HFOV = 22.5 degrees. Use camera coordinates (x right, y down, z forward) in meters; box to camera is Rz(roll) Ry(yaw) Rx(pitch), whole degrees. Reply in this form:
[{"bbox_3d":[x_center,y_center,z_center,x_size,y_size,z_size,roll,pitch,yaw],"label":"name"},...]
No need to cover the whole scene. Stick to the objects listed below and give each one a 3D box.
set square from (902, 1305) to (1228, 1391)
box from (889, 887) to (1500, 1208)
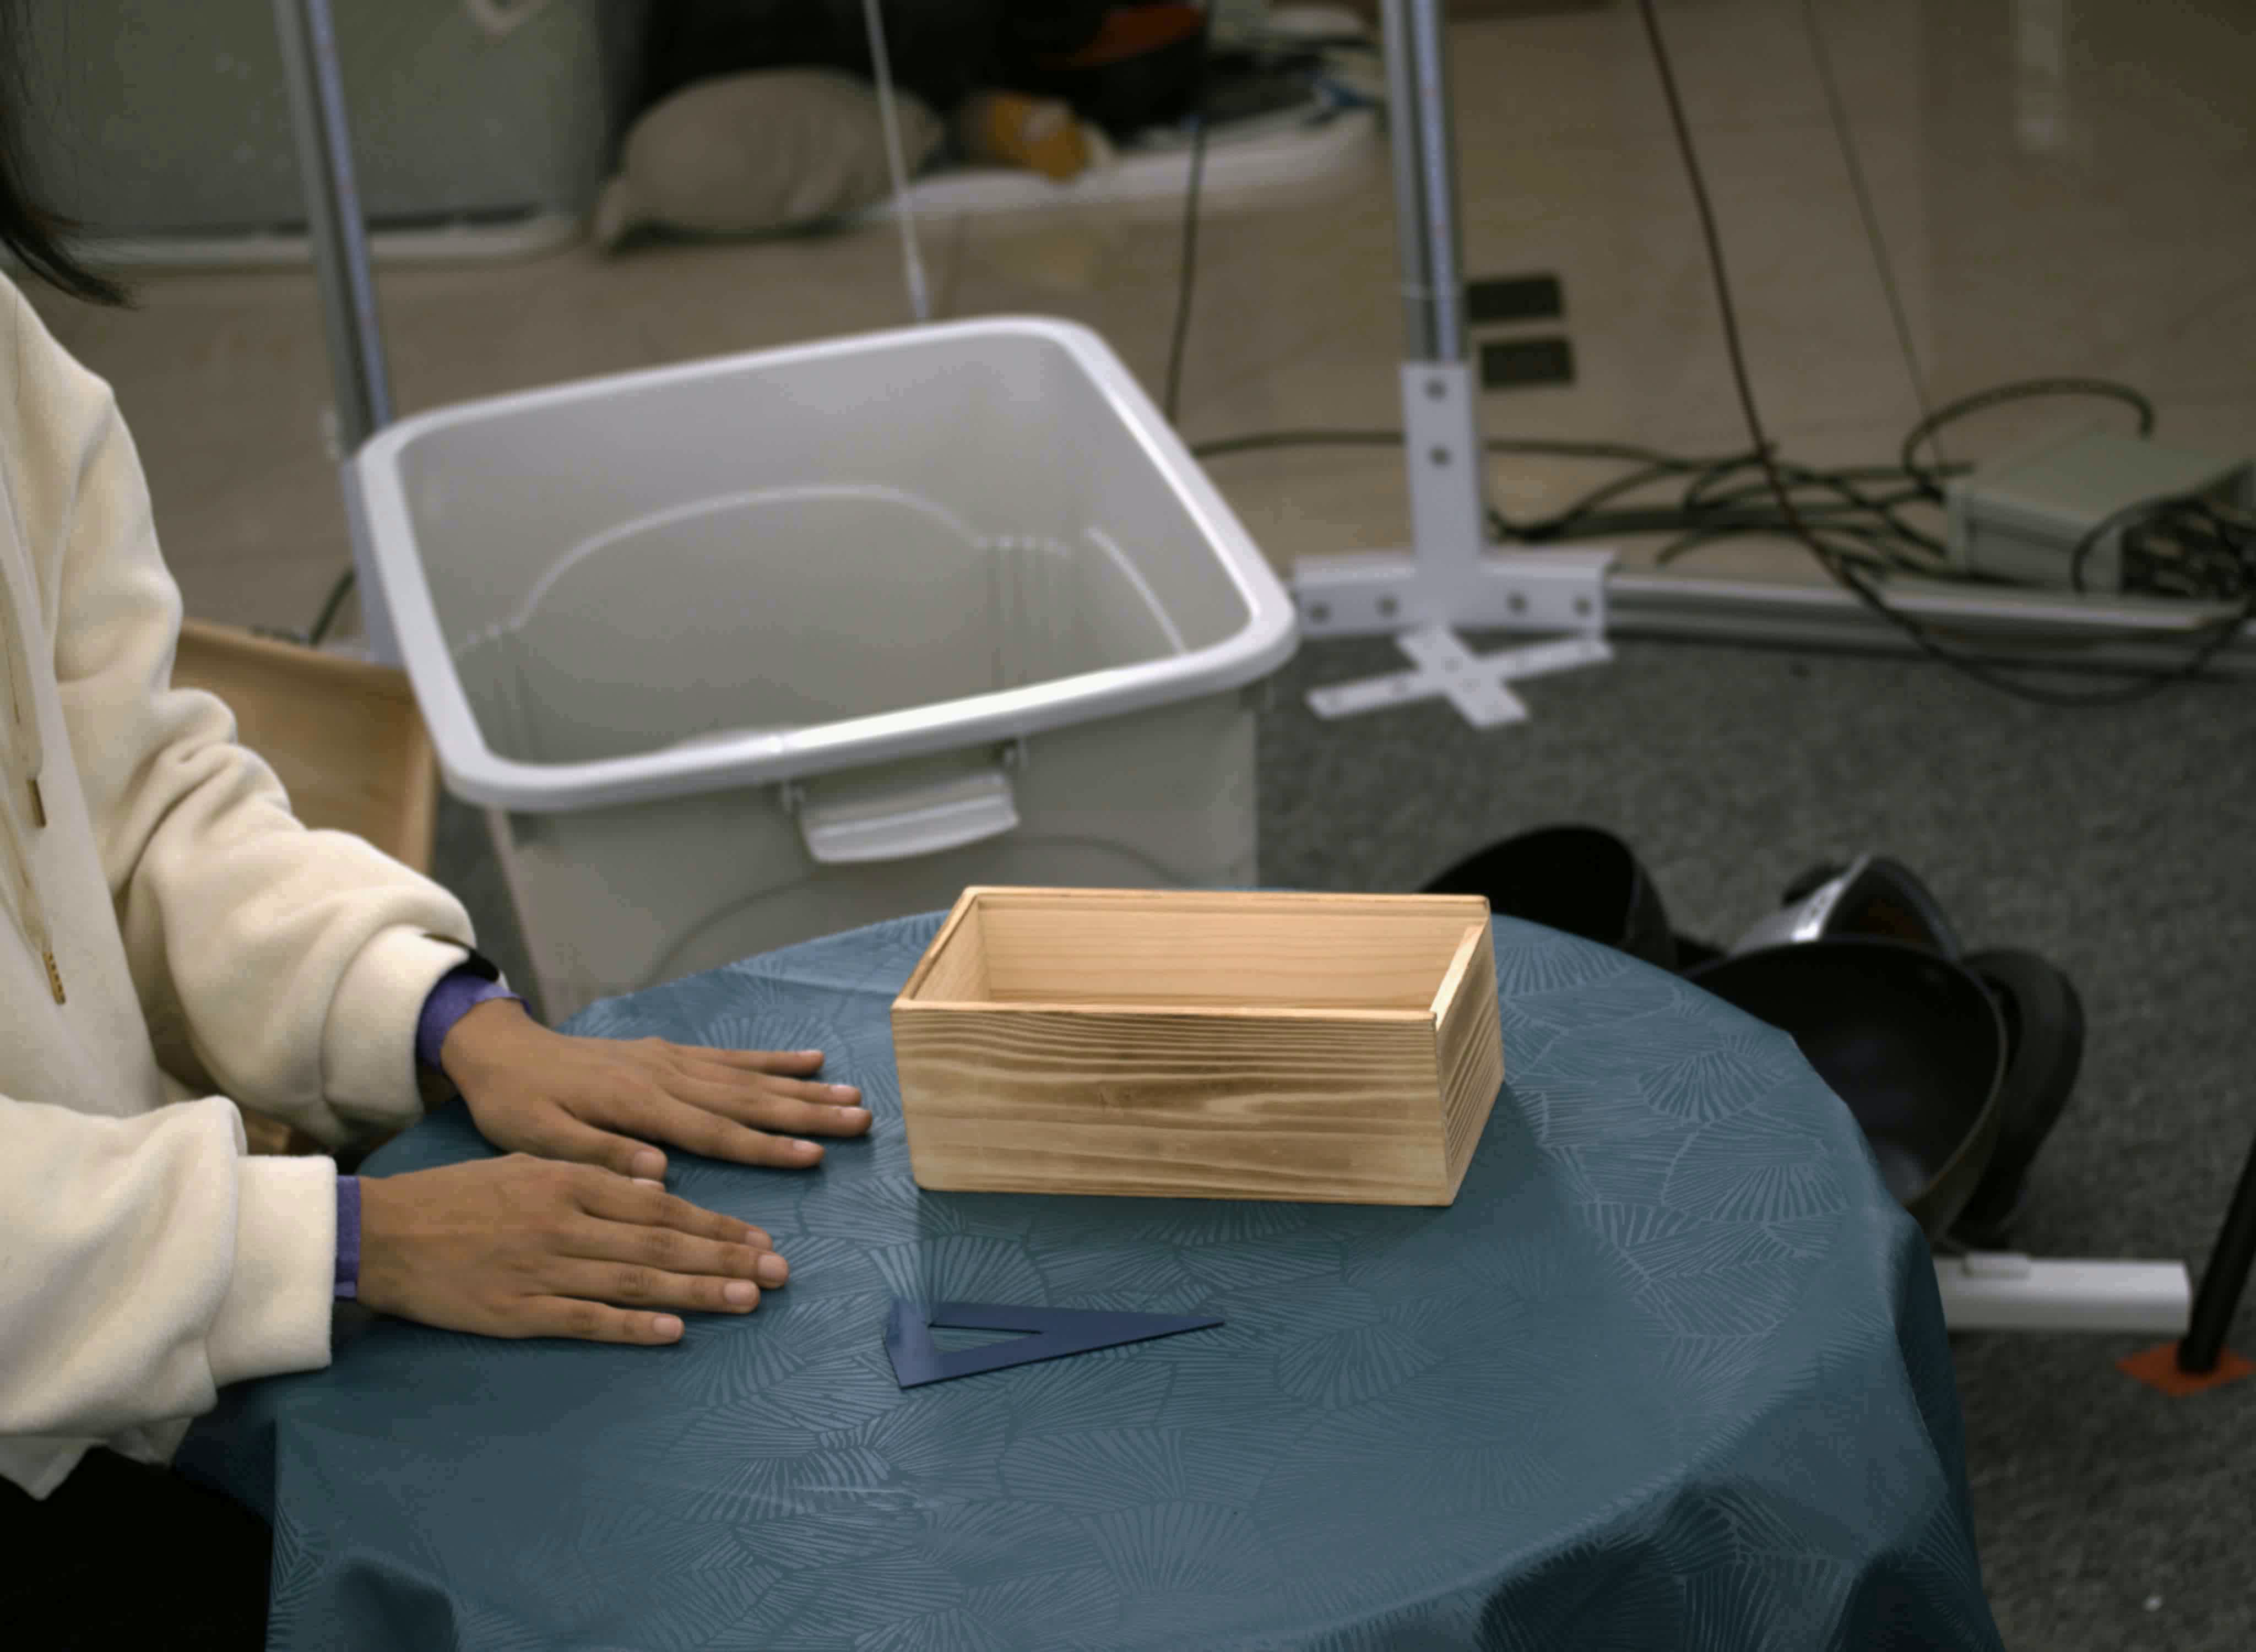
[{"bbox_3d":[-0.033,0.191,2.040,0.131,0.006,0.060,4,26,22],"label":"set square"},{"bbox_3d":[0.027,0.083,2.166,0.211,0.081,0.106,1,26,15],"label":"box"}]
